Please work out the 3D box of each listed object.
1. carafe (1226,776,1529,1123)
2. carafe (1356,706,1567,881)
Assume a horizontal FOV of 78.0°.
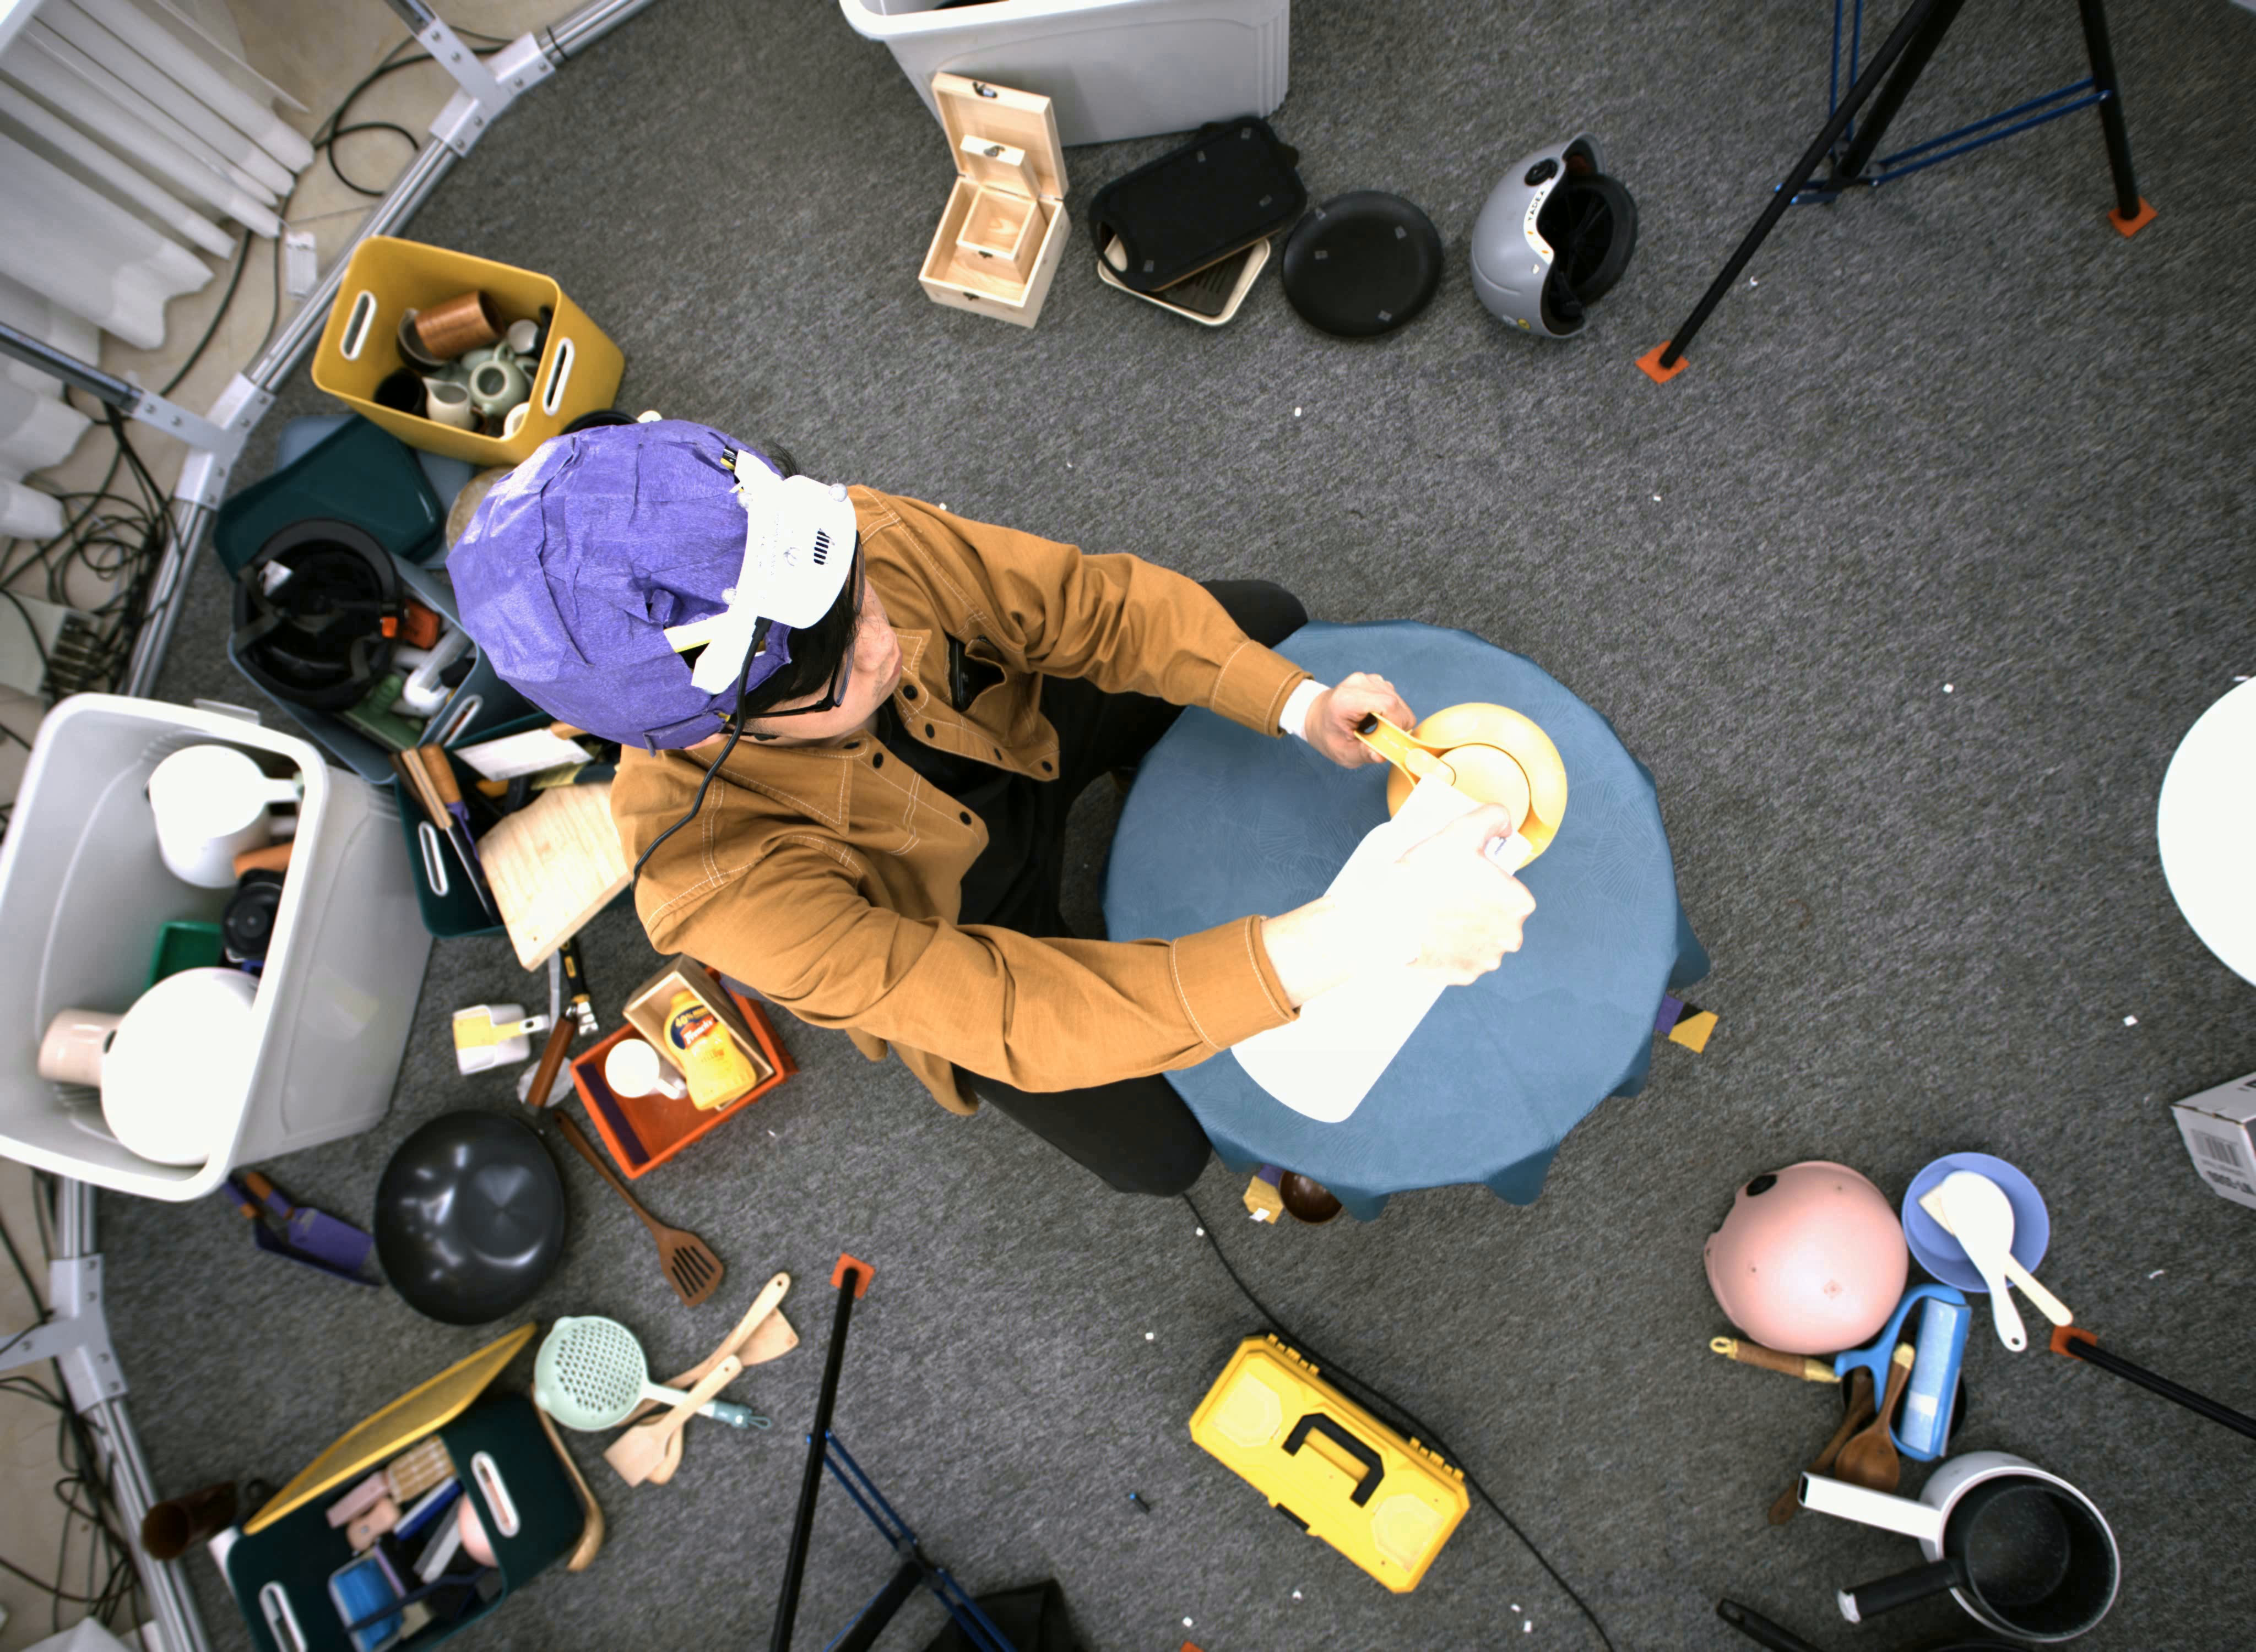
[{"bbox_3d":[0.194,0.101,1.062,0.124,0.170,0.272,33,106,-8],"label":"carafe"},{"bbox_3d":[0.302,-0.043,1.259,0.202,0.258,0.165,37,101,7],"label":"carafe"}]
